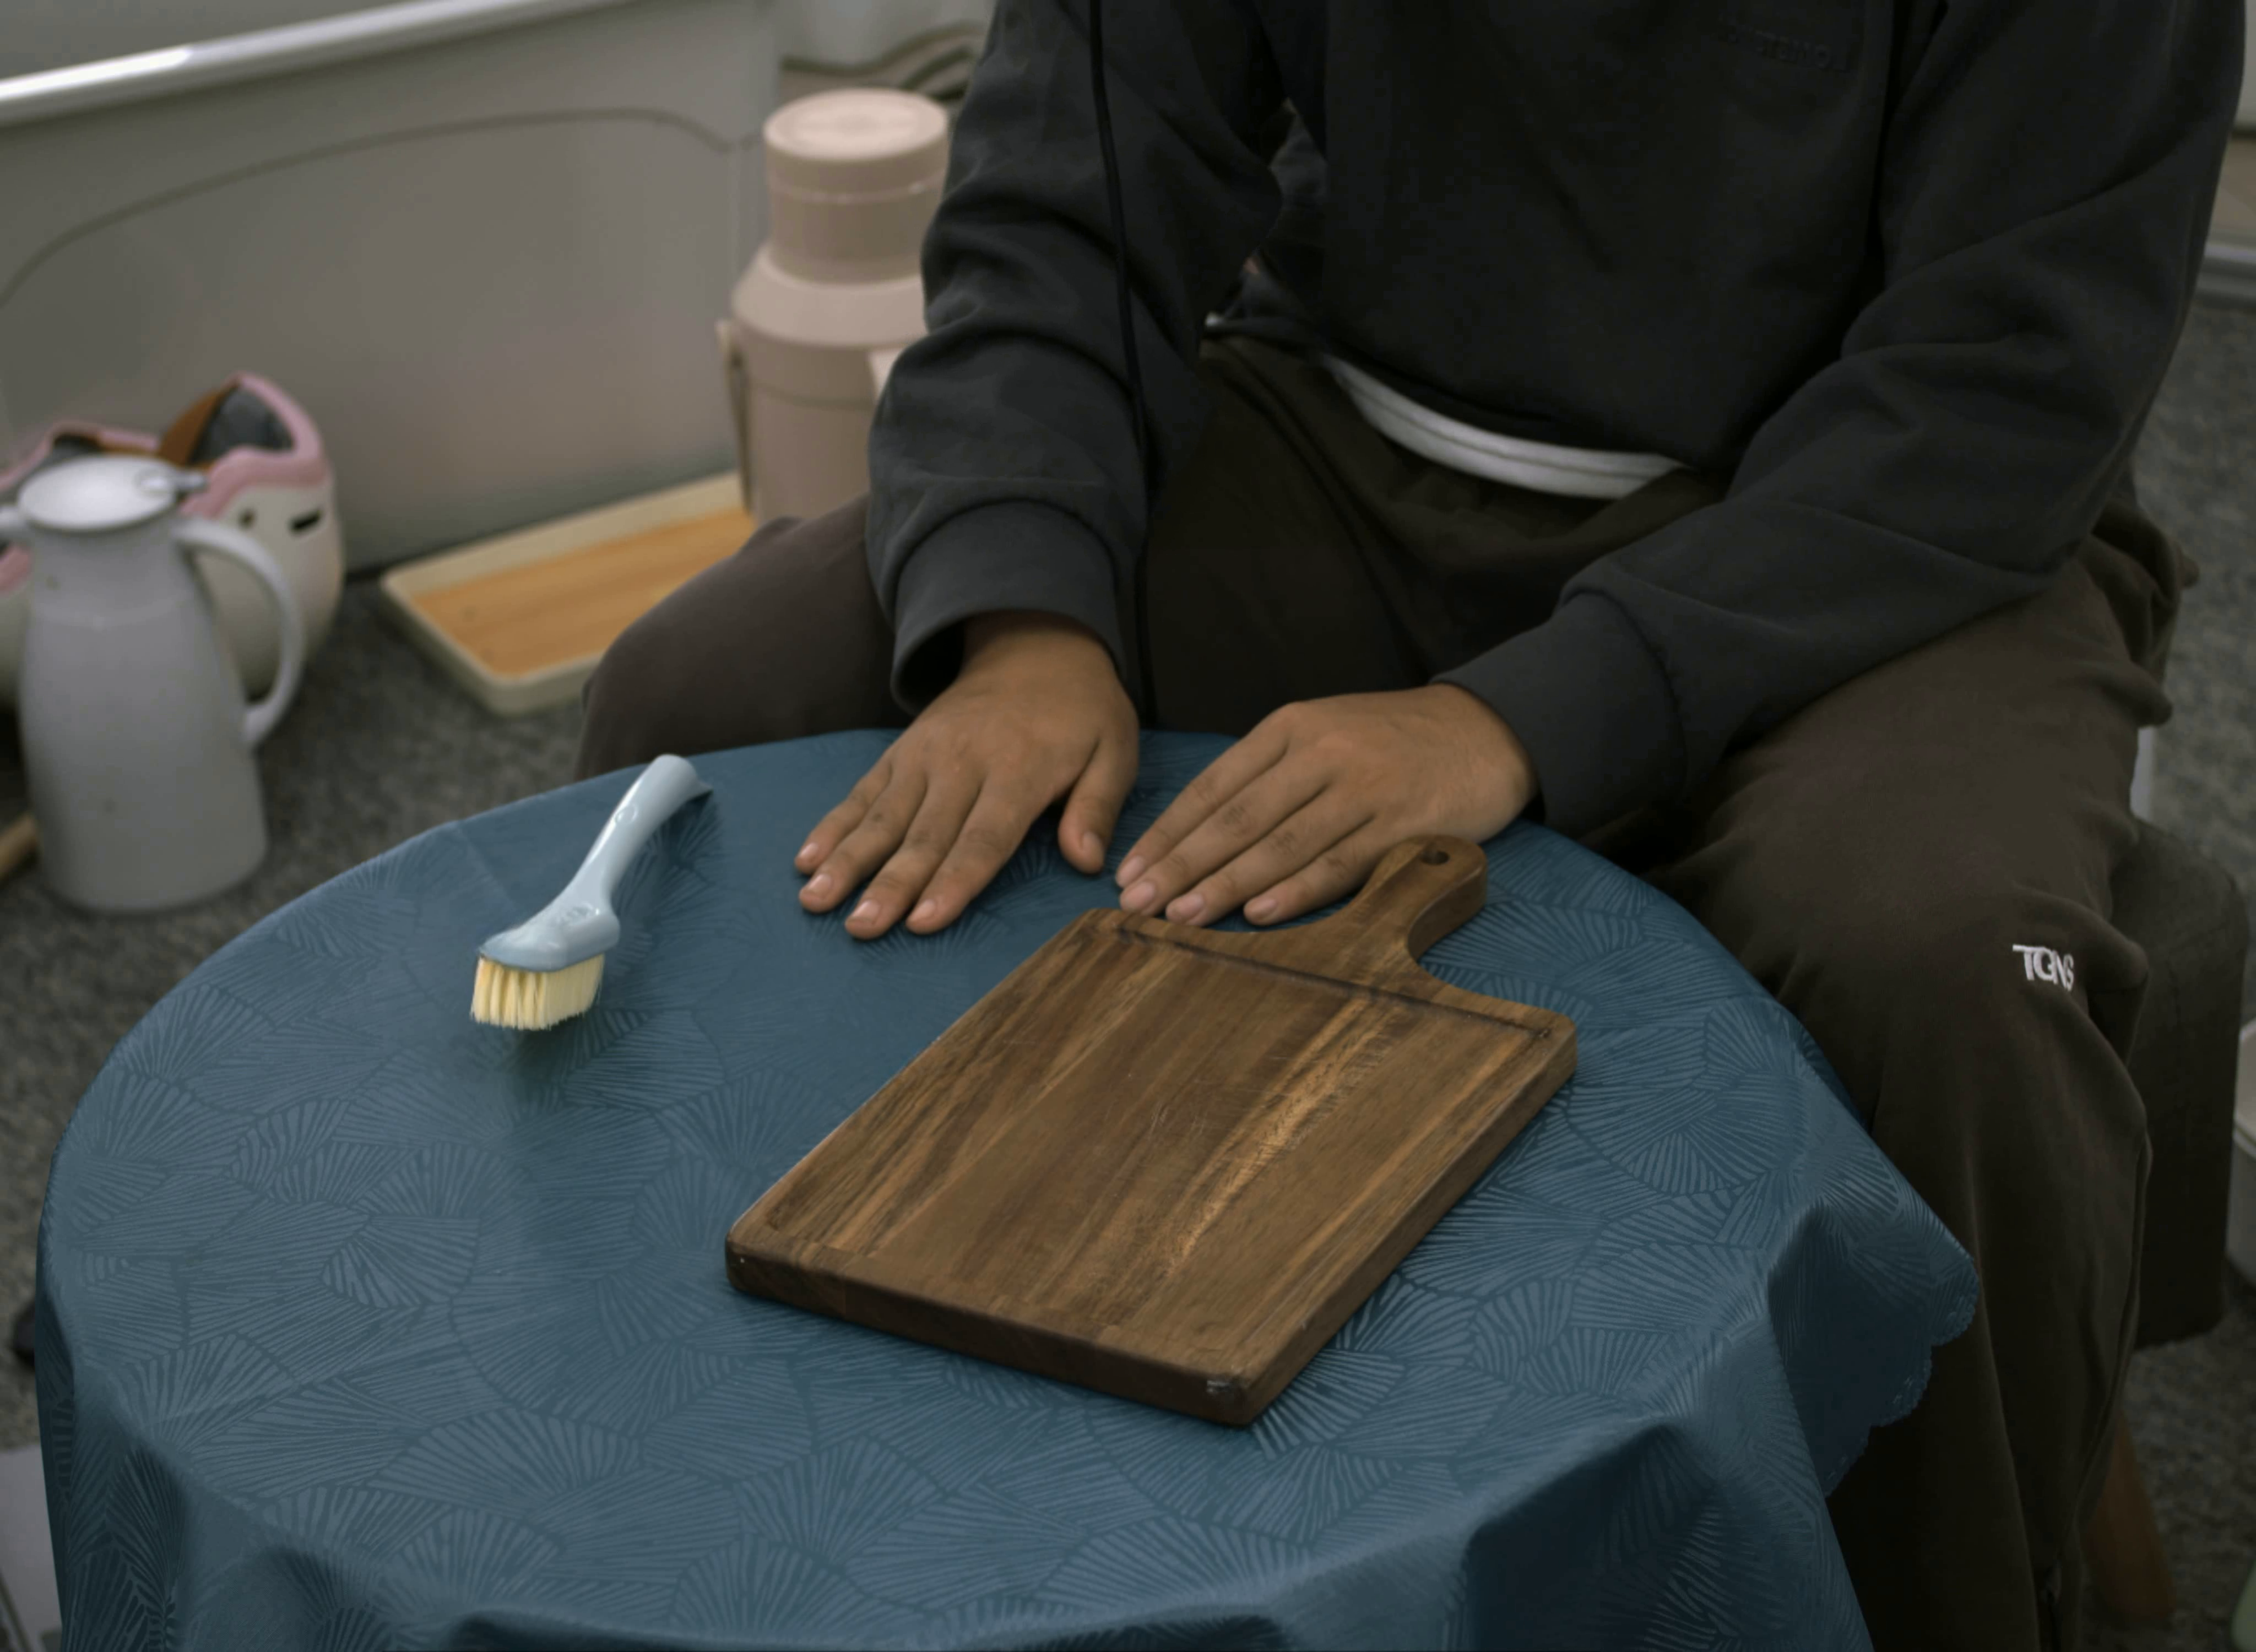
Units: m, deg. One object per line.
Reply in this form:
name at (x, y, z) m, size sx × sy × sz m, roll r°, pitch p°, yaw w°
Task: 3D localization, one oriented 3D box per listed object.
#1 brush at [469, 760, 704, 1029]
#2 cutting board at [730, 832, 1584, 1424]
brush at (-0.192, 0.026, 2.034) m, size 0.037 × 0.049 × 0.232 m, roll 8°, pitch 20°, yaw 8°
cutting board at (0.037, 0.086, 1.907) m, size 0.200 × 0.023 × 0.358 m, roll 13°, pitch 31°, yaw 26°
